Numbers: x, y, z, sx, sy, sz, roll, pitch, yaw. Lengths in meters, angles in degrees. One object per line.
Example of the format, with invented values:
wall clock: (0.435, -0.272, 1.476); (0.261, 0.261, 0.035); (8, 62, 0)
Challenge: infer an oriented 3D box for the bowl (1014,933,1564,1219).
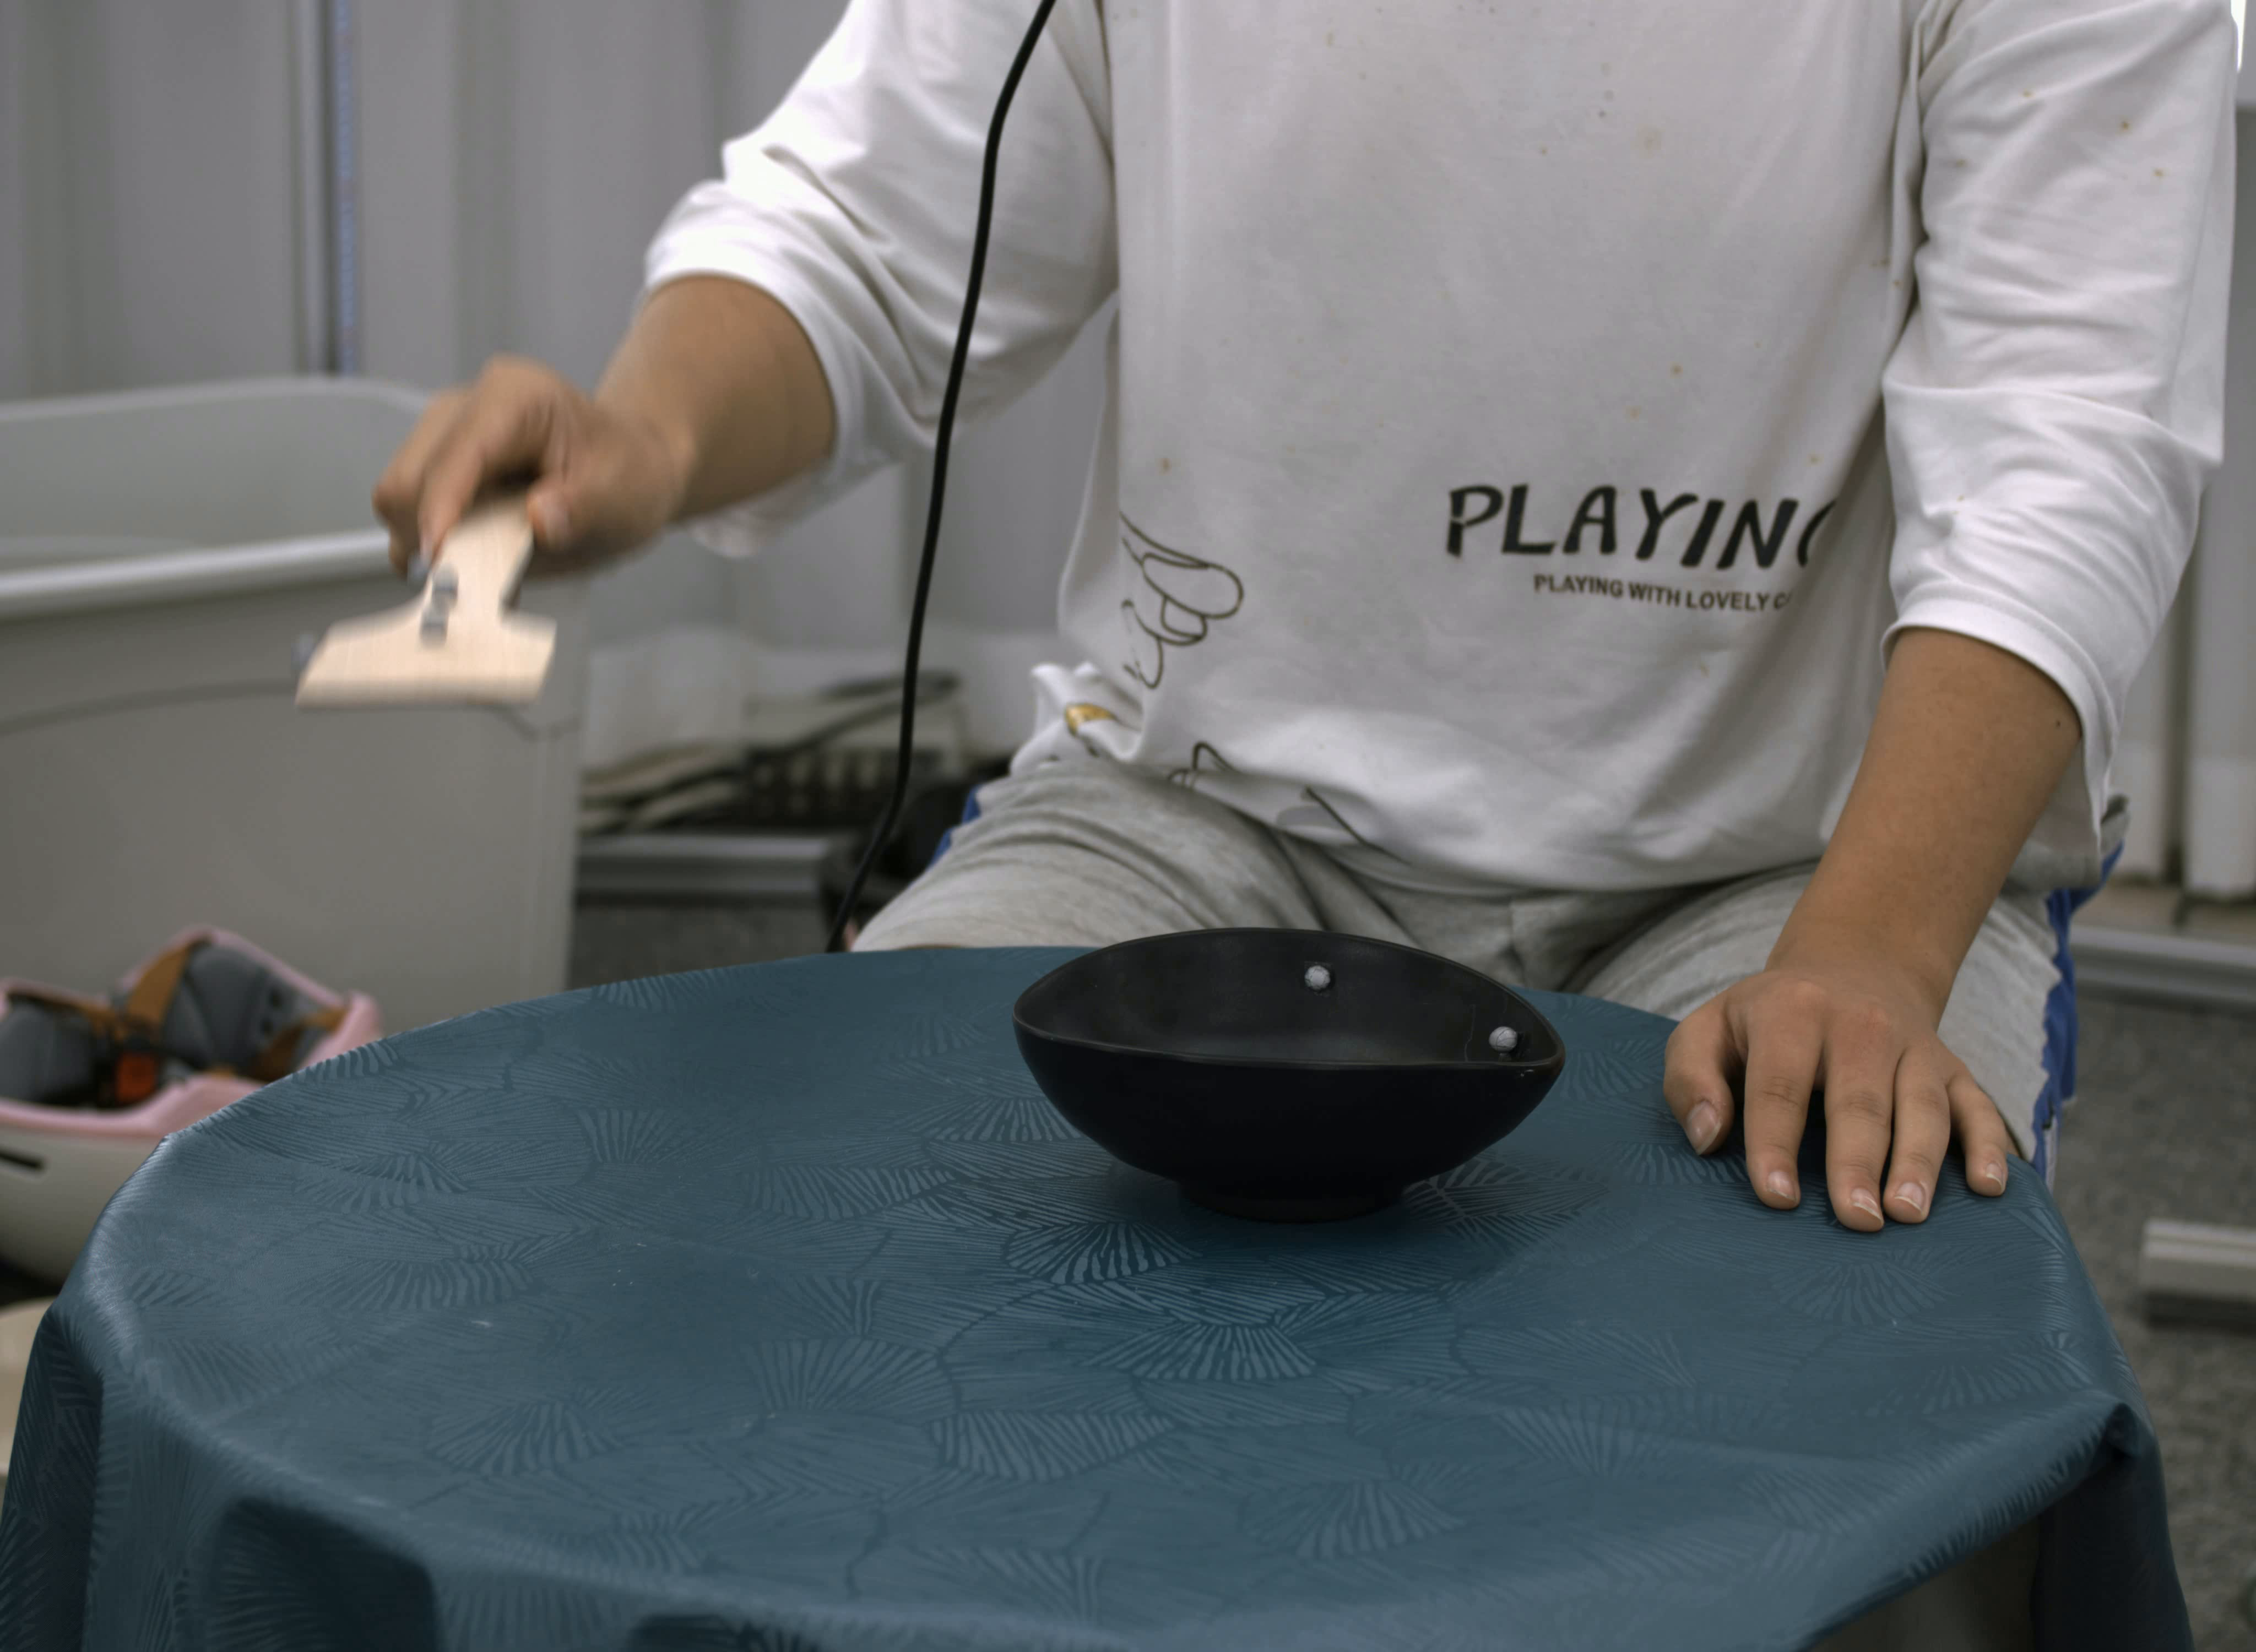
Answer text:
bowl: (0.049, 0.081, 1.627); (0.170, 0.067, 0.136); (3, 15, 0)

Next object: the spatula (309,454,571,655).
spatula: (-0.203, -0.085, 1.631); (0.072, 0.011, 0.291); (-2, 15, -2)
